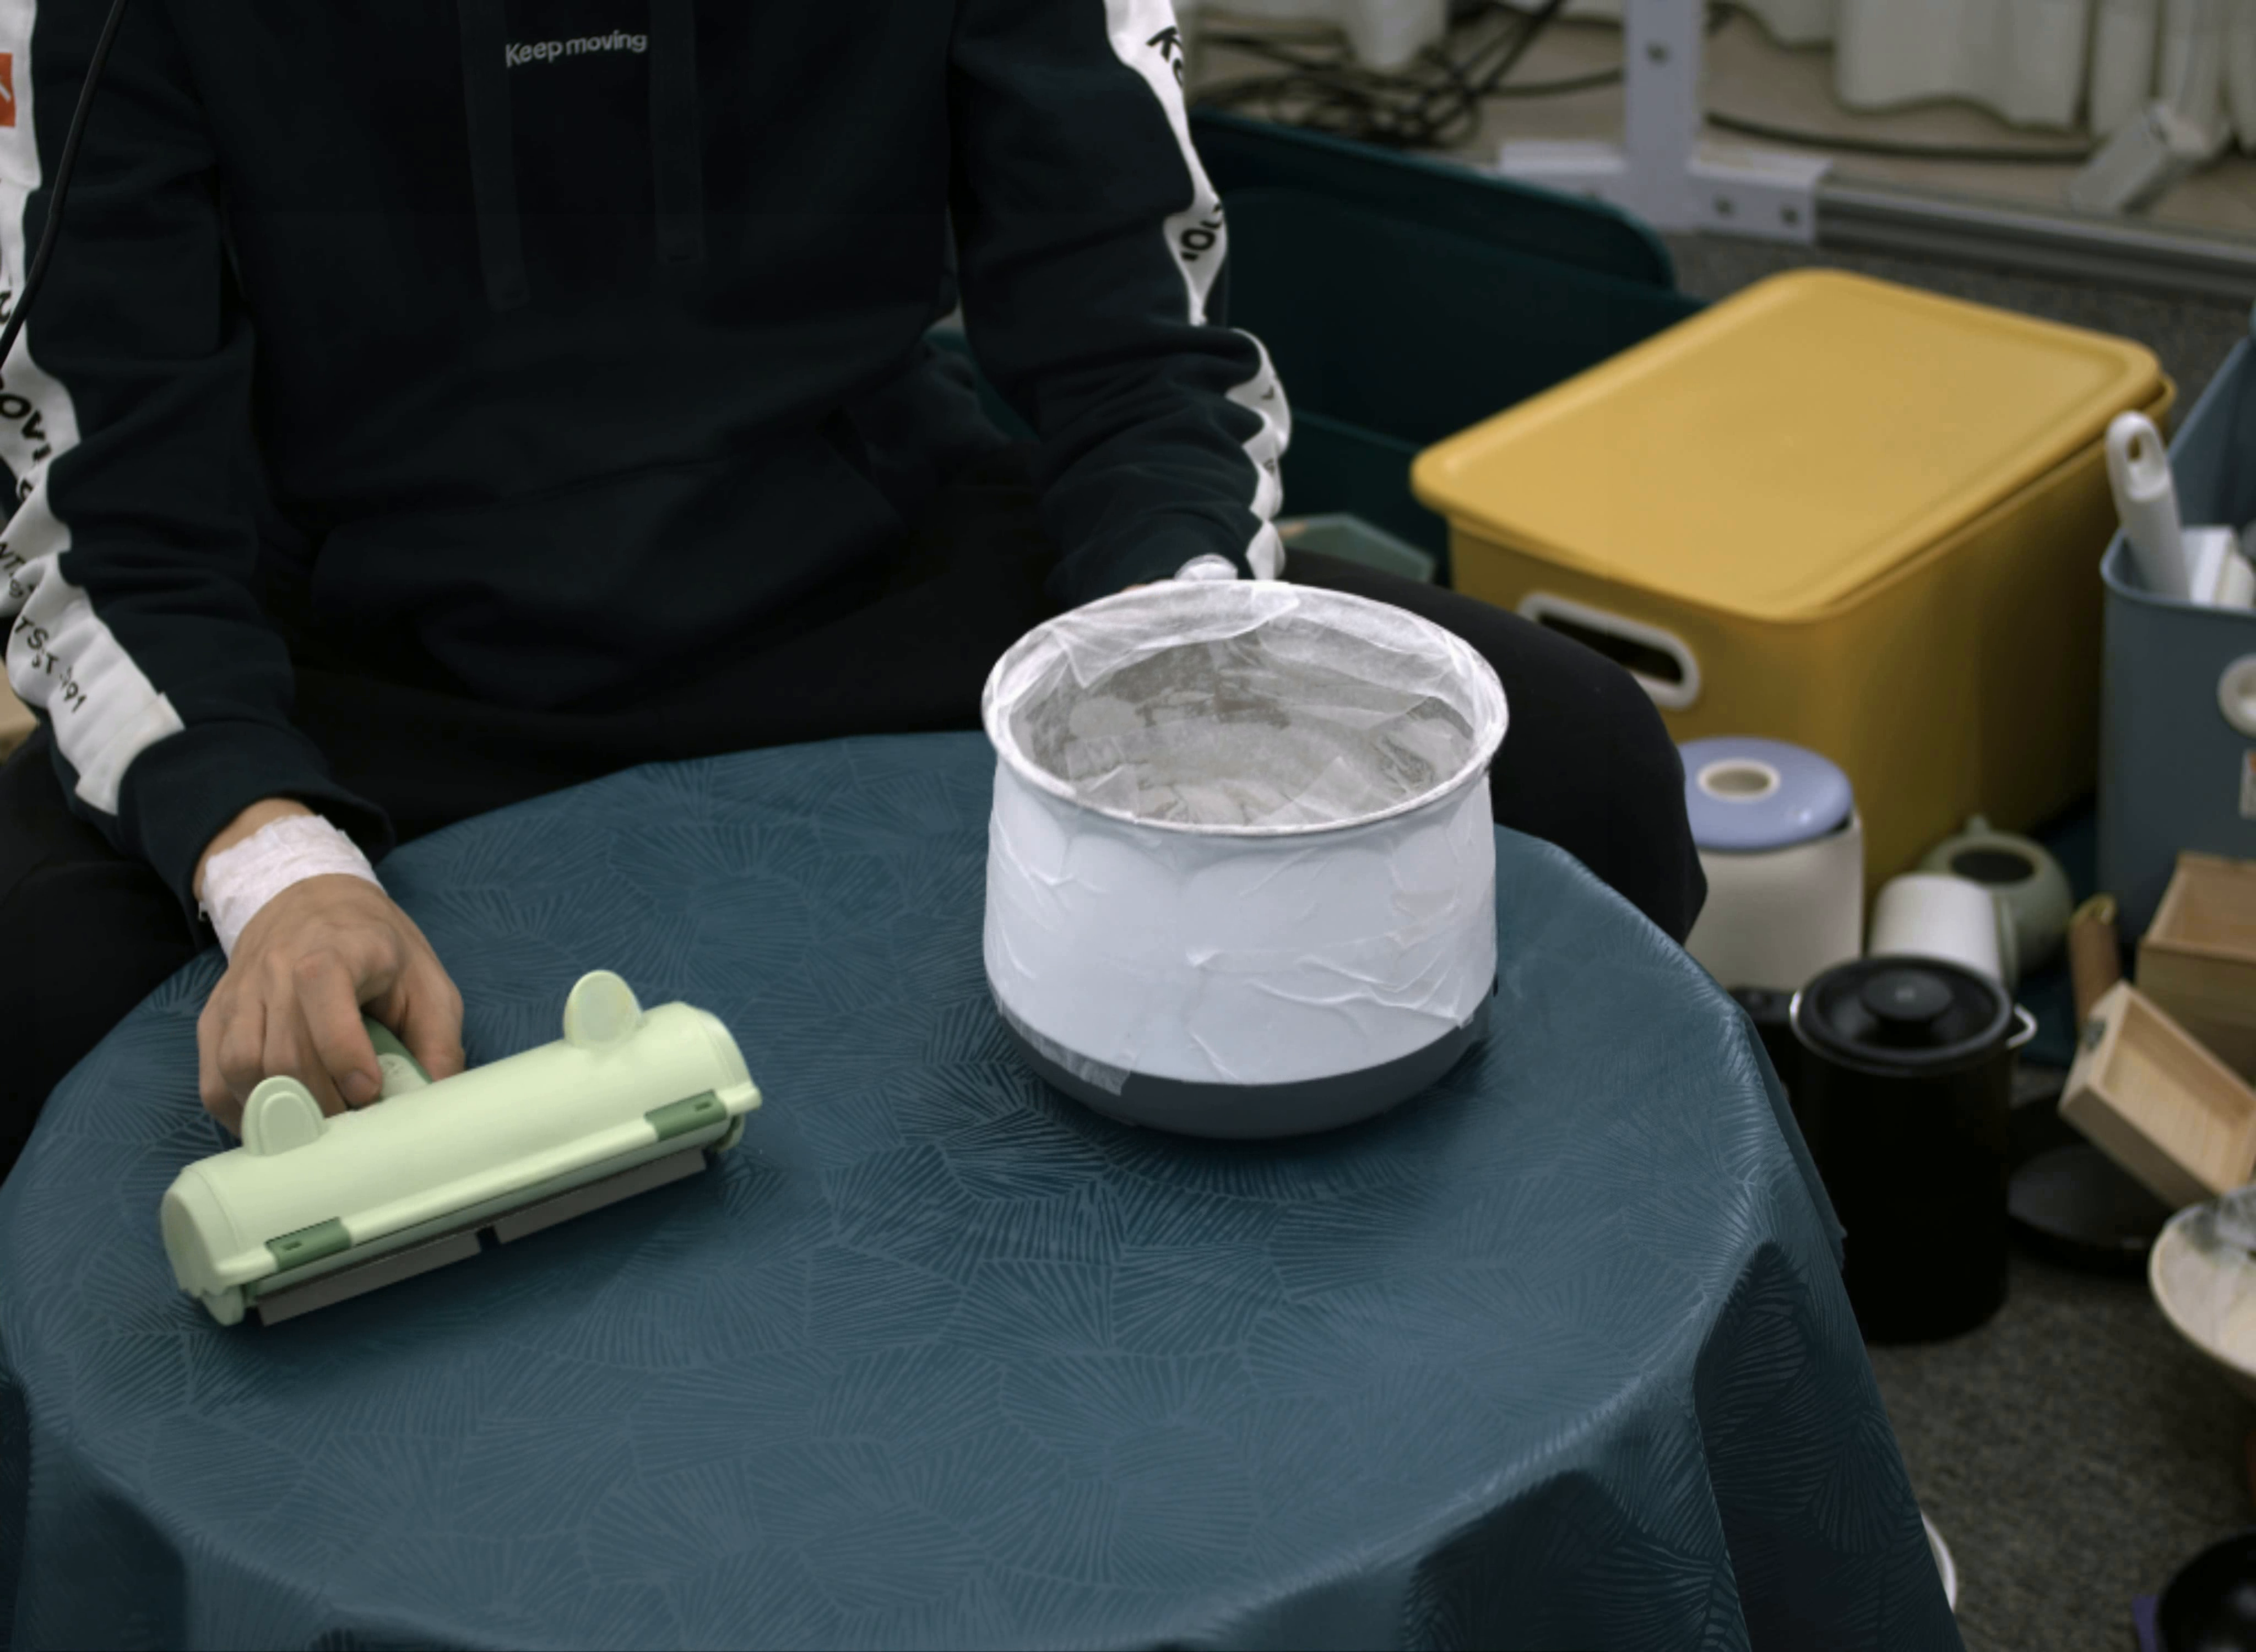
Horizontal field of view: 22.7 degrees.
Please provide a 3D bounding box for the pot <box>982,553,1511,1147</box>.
[{"bbox_3d":[0.036,0.001,1.931,0.178,0.135,0.237,-3,30,-7],"label":"pot"}]

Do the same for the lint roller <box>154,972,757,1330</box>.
[{"bbox_3d":[-0.248,0.081,1.879,0.200,0.081,0.184,-18,35,-26],"label":"lint roller"}]
